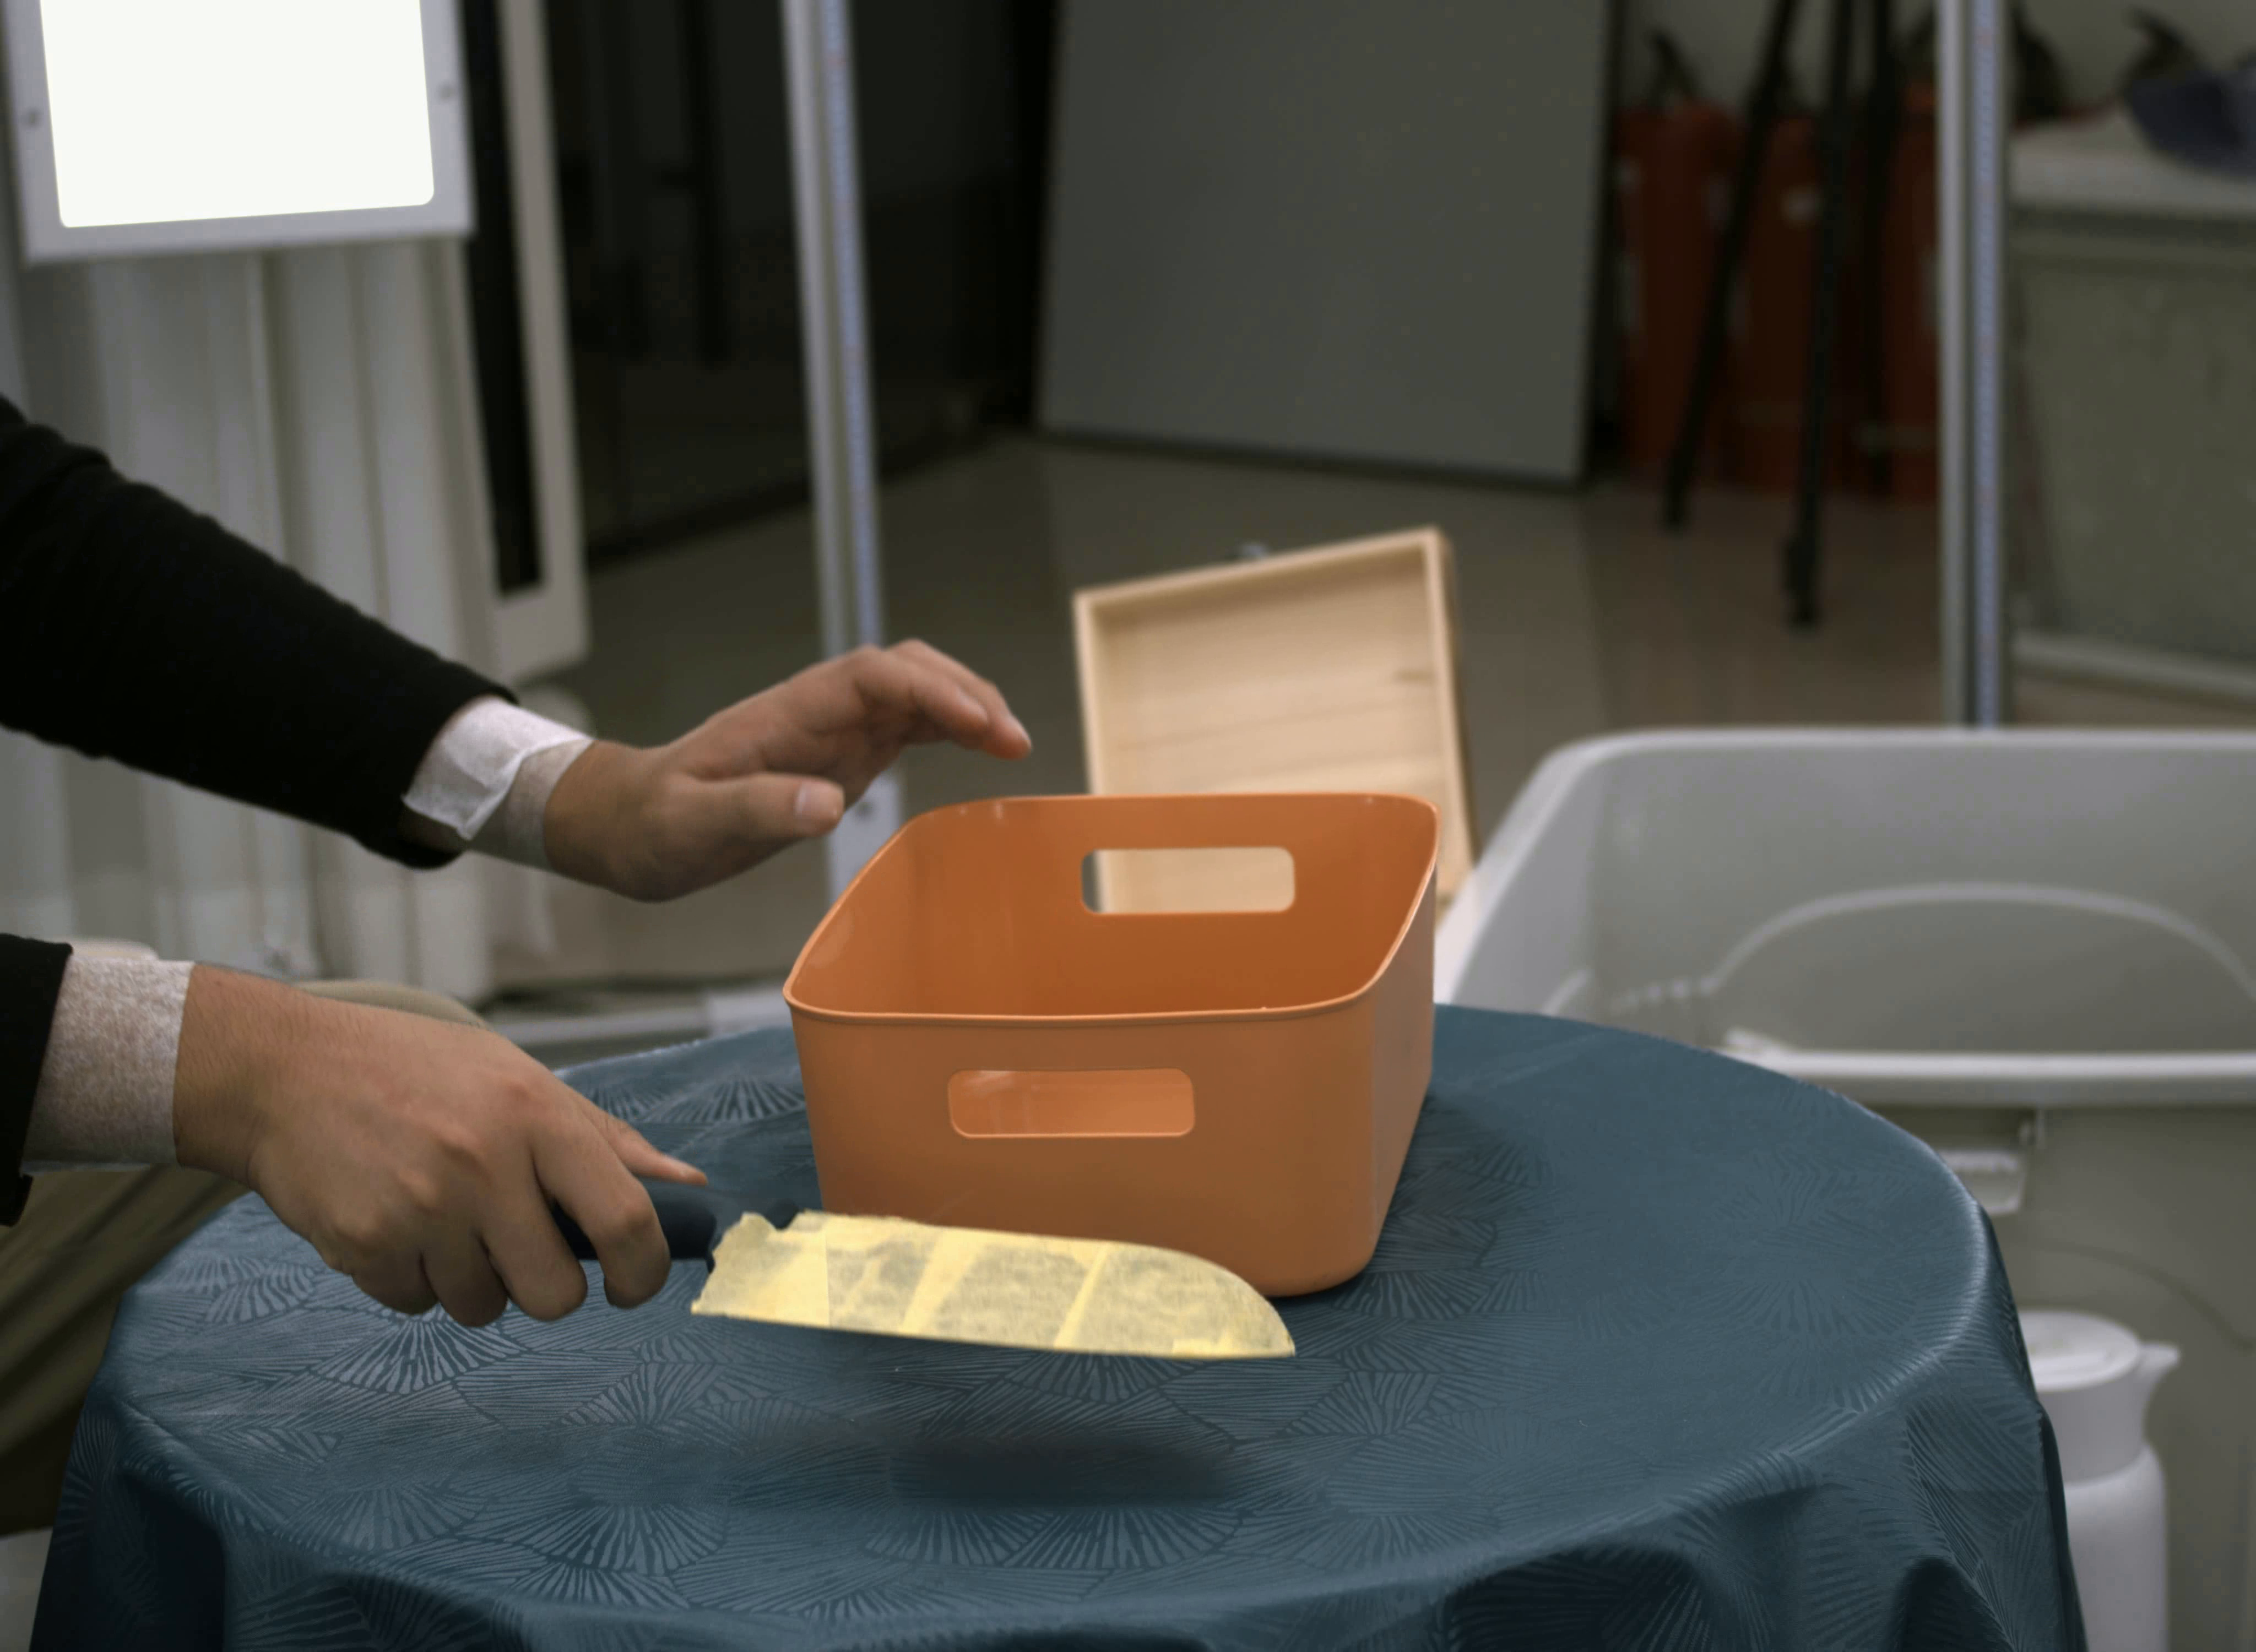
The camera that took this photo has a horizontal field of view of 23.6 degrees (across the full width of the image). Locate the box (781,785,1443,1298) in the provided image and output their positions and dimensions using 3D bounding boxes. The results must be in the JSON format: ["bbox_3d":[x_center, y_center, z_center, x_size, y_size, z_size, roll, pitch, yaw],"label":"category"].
[{"bbox_3d":[0.001,0.069,1.763,0.198,0.104,0.272,-1,14,10],"label":"box"}]

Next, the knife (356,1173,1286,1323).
[{"bbox_3d":[-0.093,0.124,1.549,0.288,0.027,0.080,3,16,16],"label":"knife"}]
